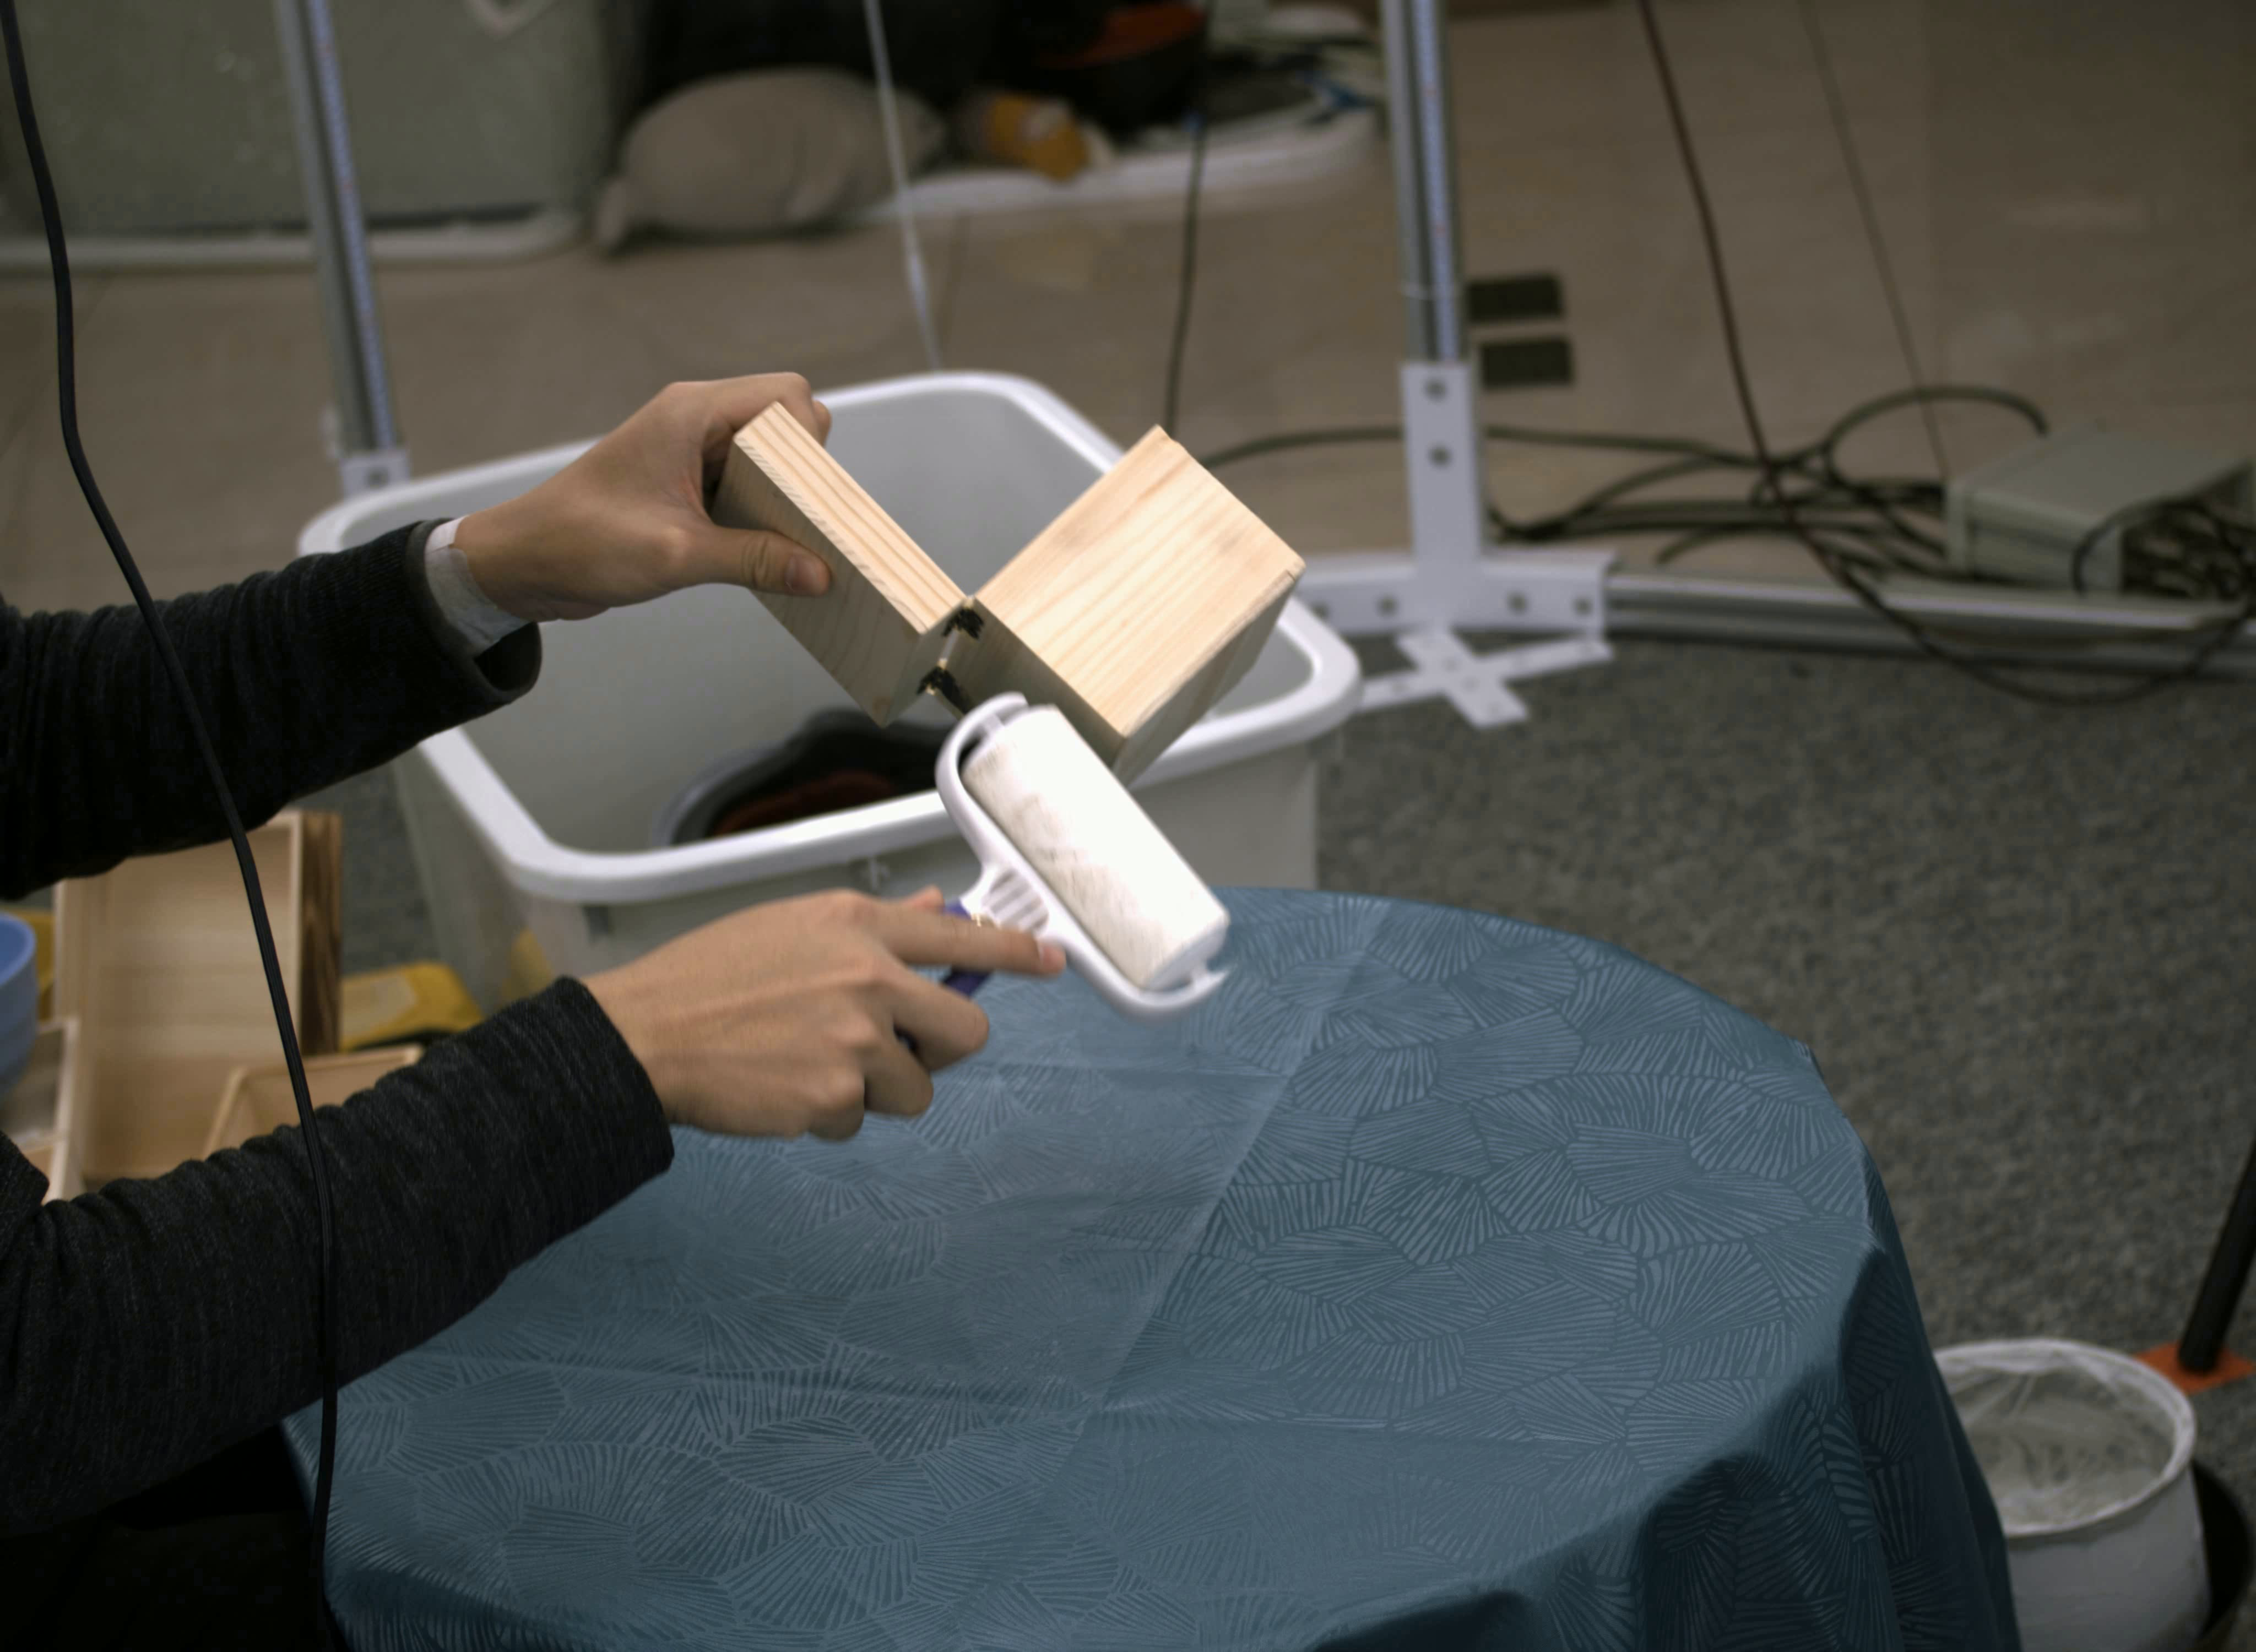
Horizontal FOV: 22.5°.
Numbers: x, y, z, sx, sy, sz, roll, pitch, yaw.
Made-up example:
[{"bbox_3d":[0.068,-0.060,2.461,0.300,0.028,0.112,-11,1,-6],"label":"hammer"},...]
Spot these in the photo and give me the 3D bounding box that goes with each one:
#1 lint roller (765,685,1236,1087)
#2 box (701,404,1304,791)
[{"bbox_3d":[-0.057,0.033,1.978,0.179,0.051,0.132,-32,81,-38],"label":"lint roller"},{"bbox_3d":[-0.049,-0.103,2.103,0.184,0.104,0.133,42,68,6],"label":"box"}]
